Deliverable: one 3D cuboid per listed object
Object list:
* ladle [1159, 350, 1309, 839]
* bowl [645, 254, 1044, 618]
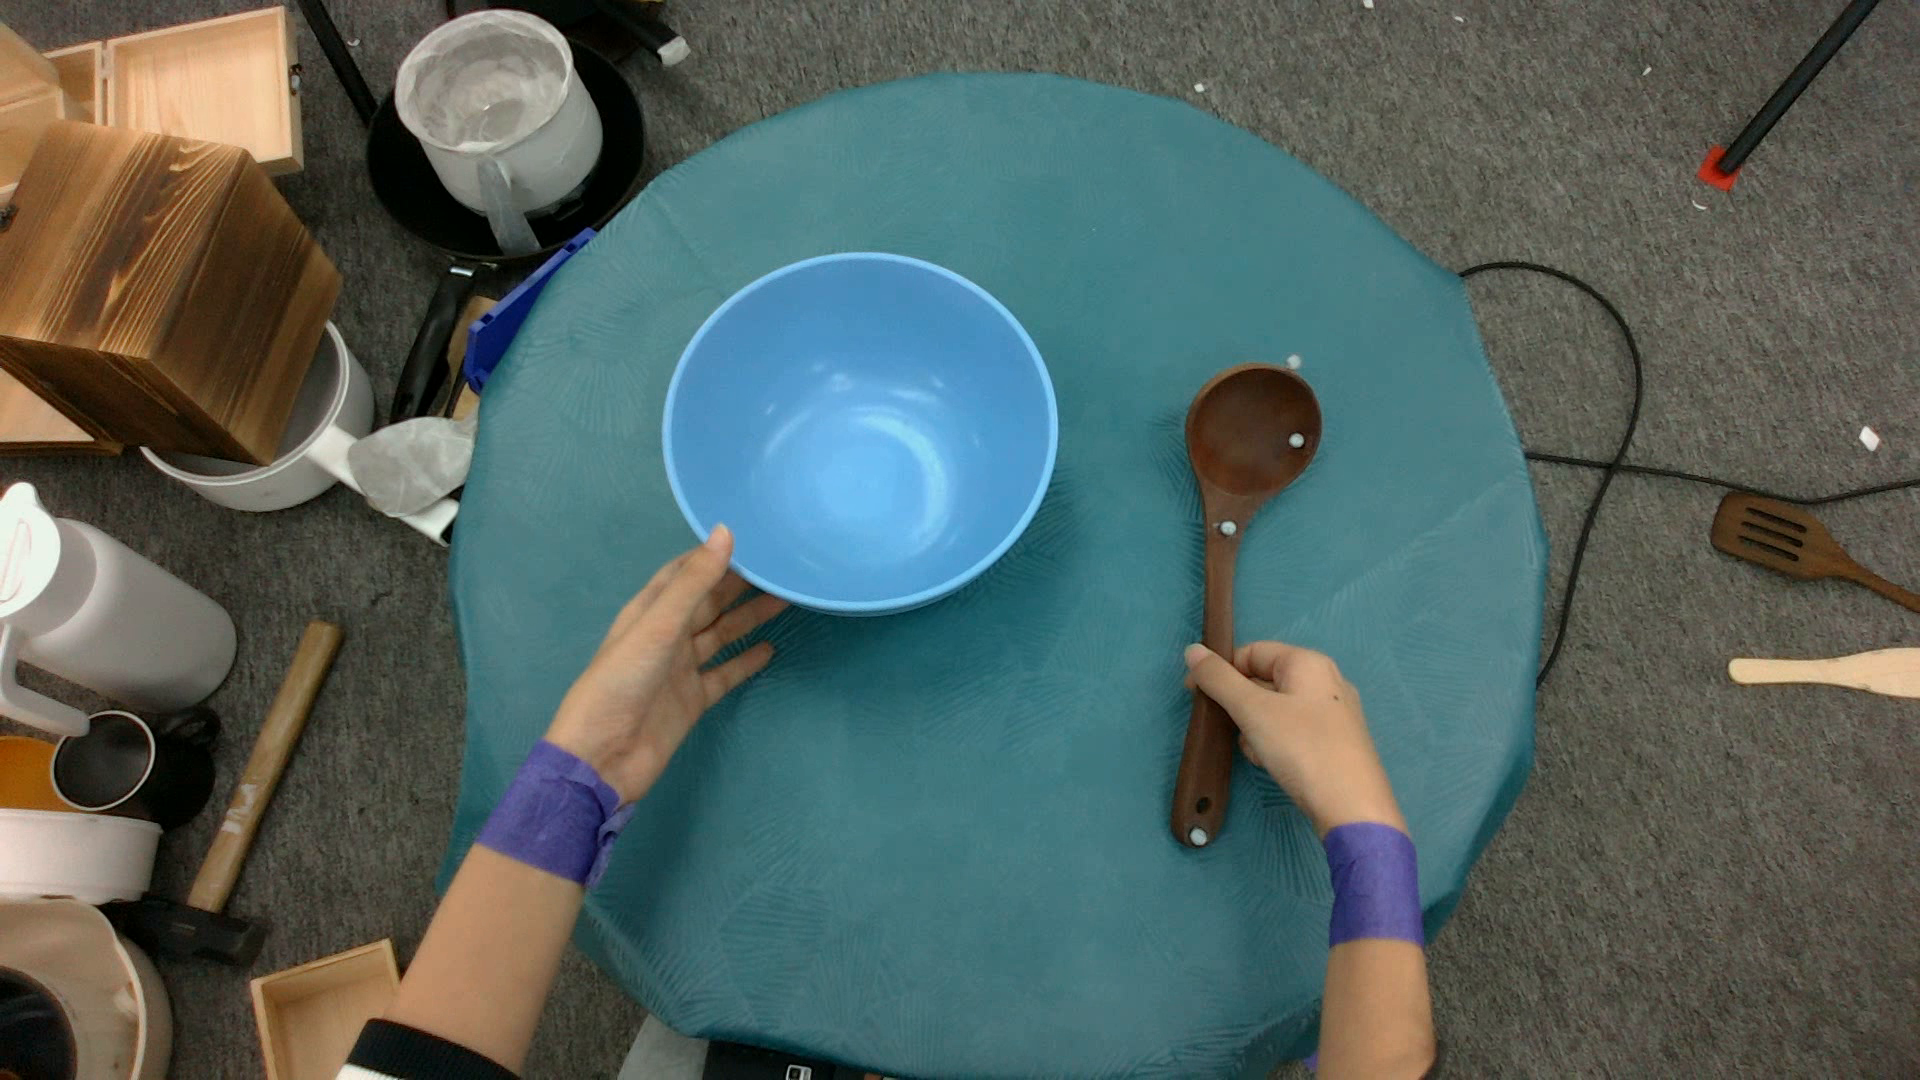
[{"bbox_3d":[0.136,0.023,0.719,0.076,0.065,0.261,12,69,-5],"label":"ladle"},{"bbox_3d":[-0.061,-0.041,0.720,0.196,0.095,0.197,3,66,-7],"label":"bowl"}]
